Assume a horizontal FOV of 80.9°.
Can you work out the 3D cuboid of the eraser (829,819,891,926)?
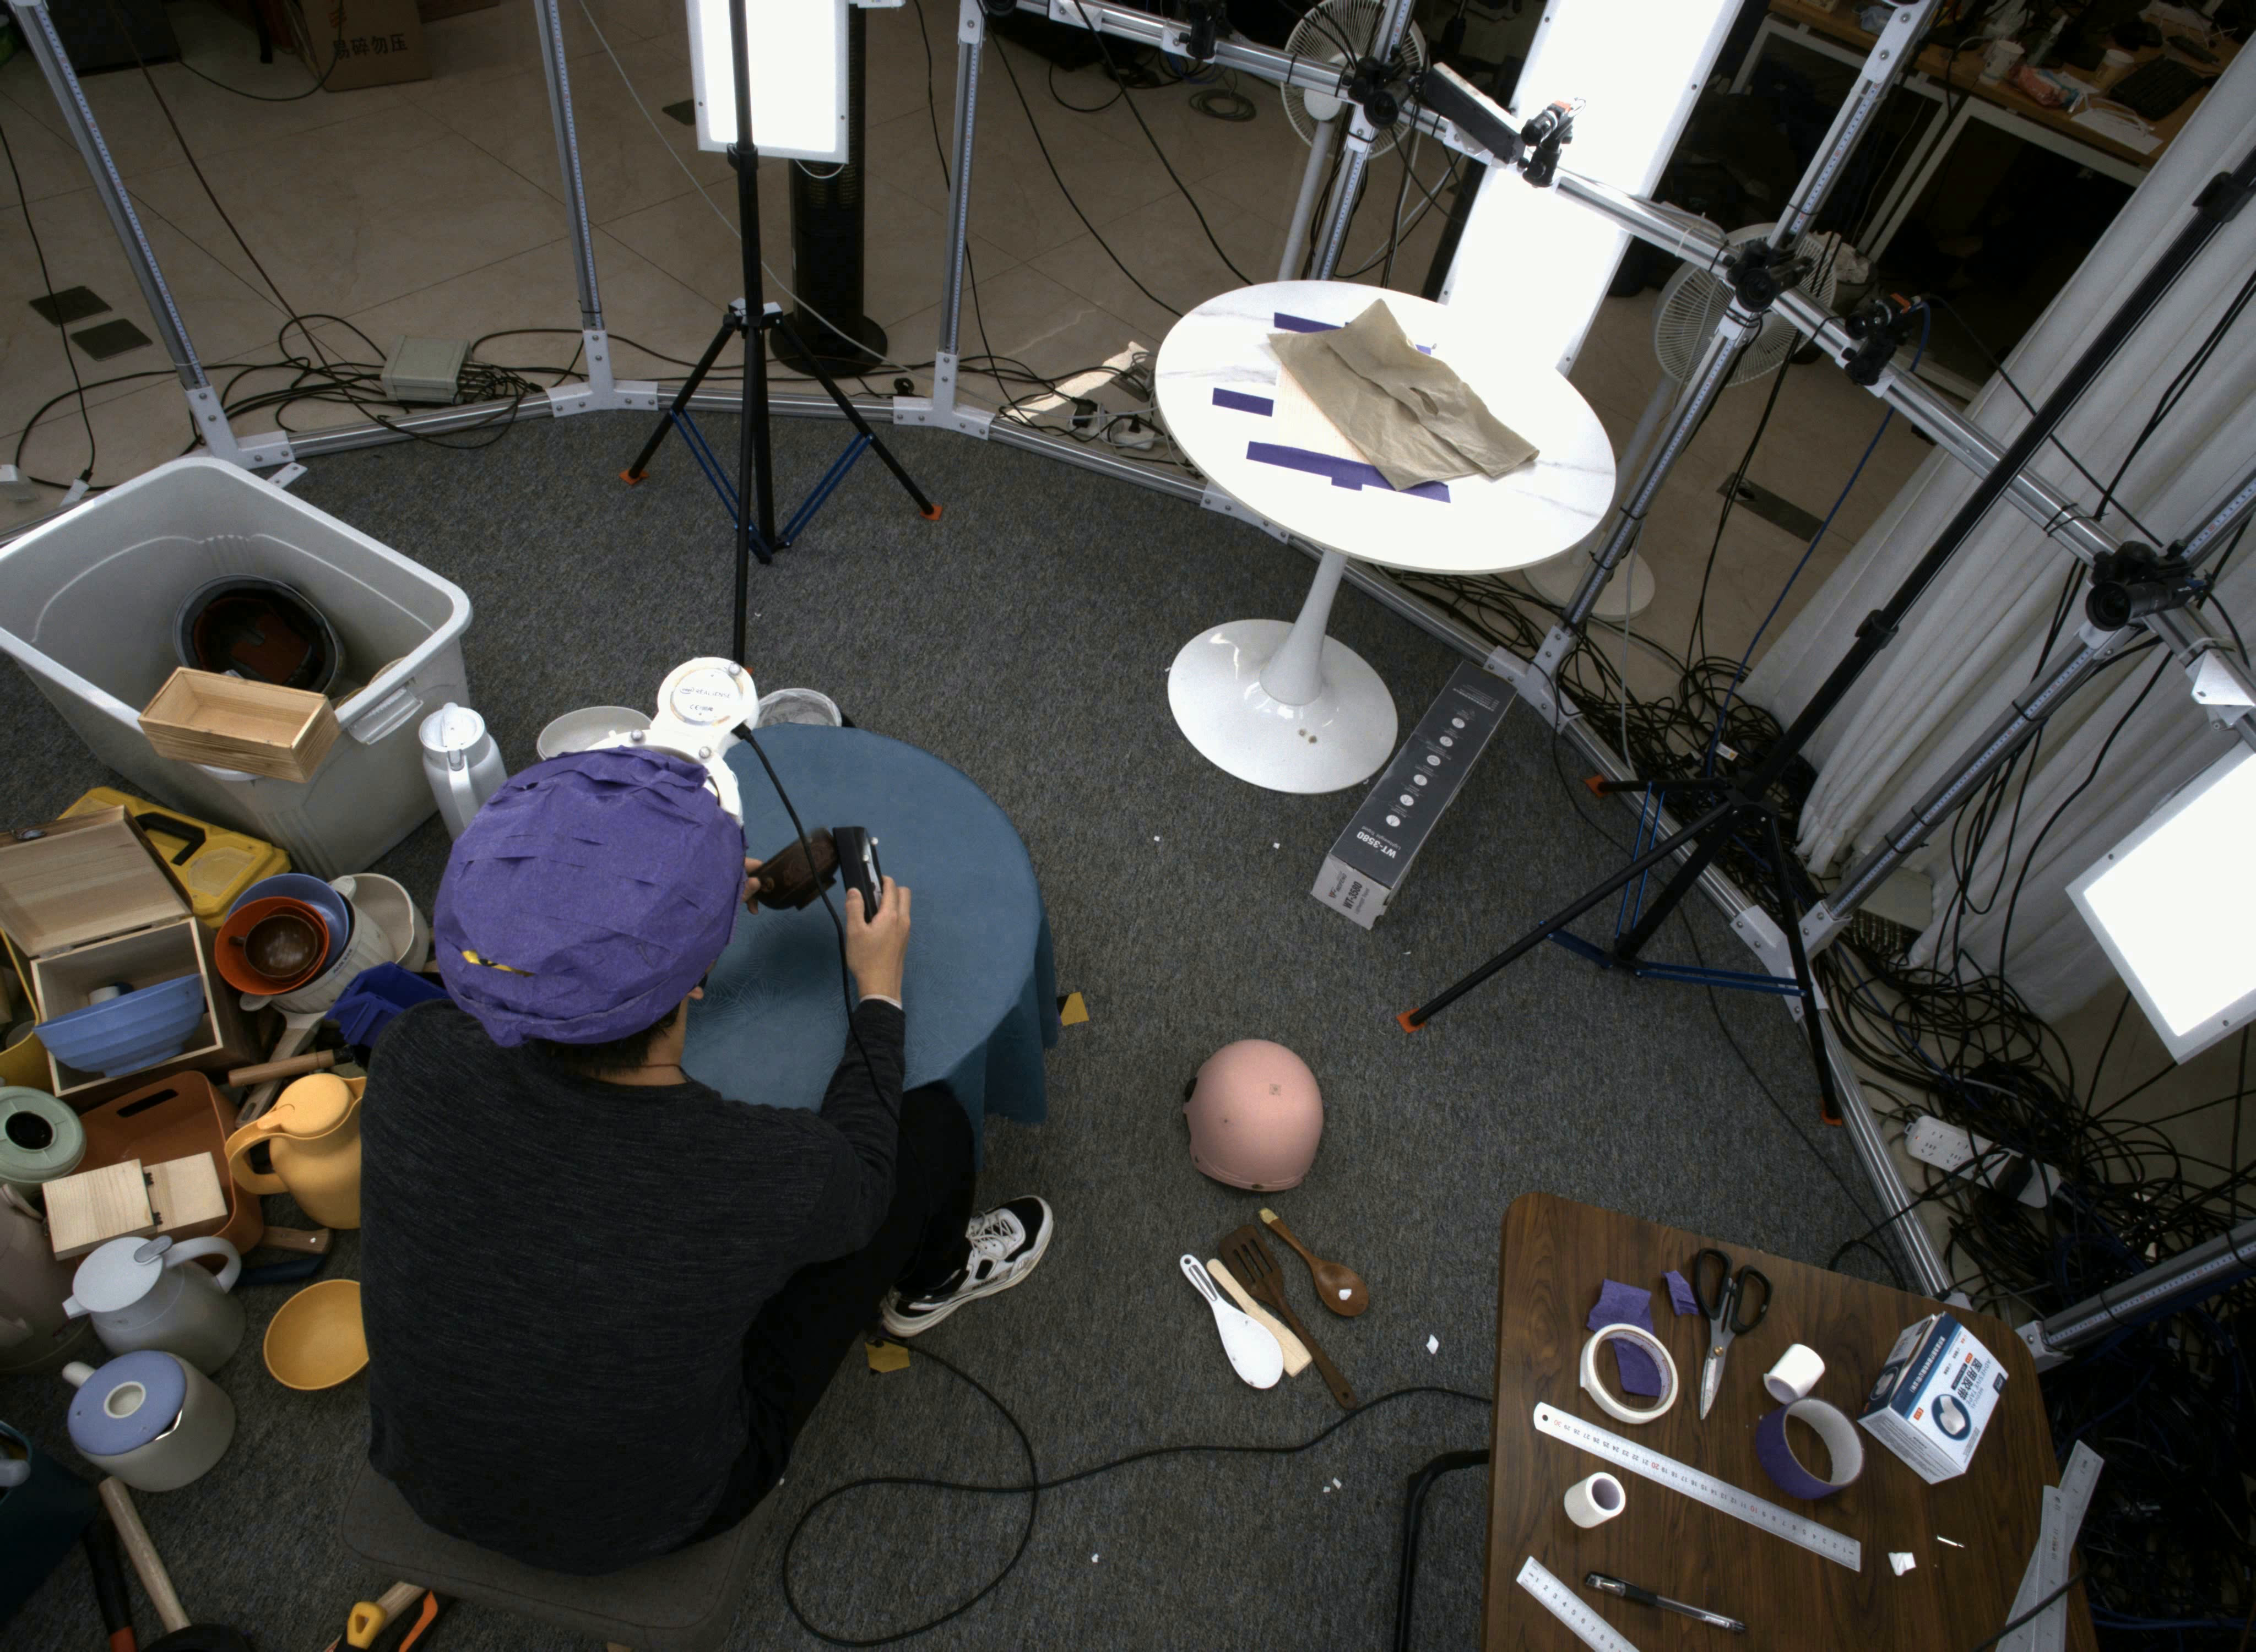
[{"bbox_3d":[-0.318,0.054,1.543,0.030,0.054,0.126,-18,82,17],"label":"eraser"}]

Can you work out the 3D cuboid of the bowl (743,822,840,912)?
[{"bbox_3d":[-0.391,0.056,1.542,0.071,0.116,0.118,52,54,-7],"label":"bowl"}]
